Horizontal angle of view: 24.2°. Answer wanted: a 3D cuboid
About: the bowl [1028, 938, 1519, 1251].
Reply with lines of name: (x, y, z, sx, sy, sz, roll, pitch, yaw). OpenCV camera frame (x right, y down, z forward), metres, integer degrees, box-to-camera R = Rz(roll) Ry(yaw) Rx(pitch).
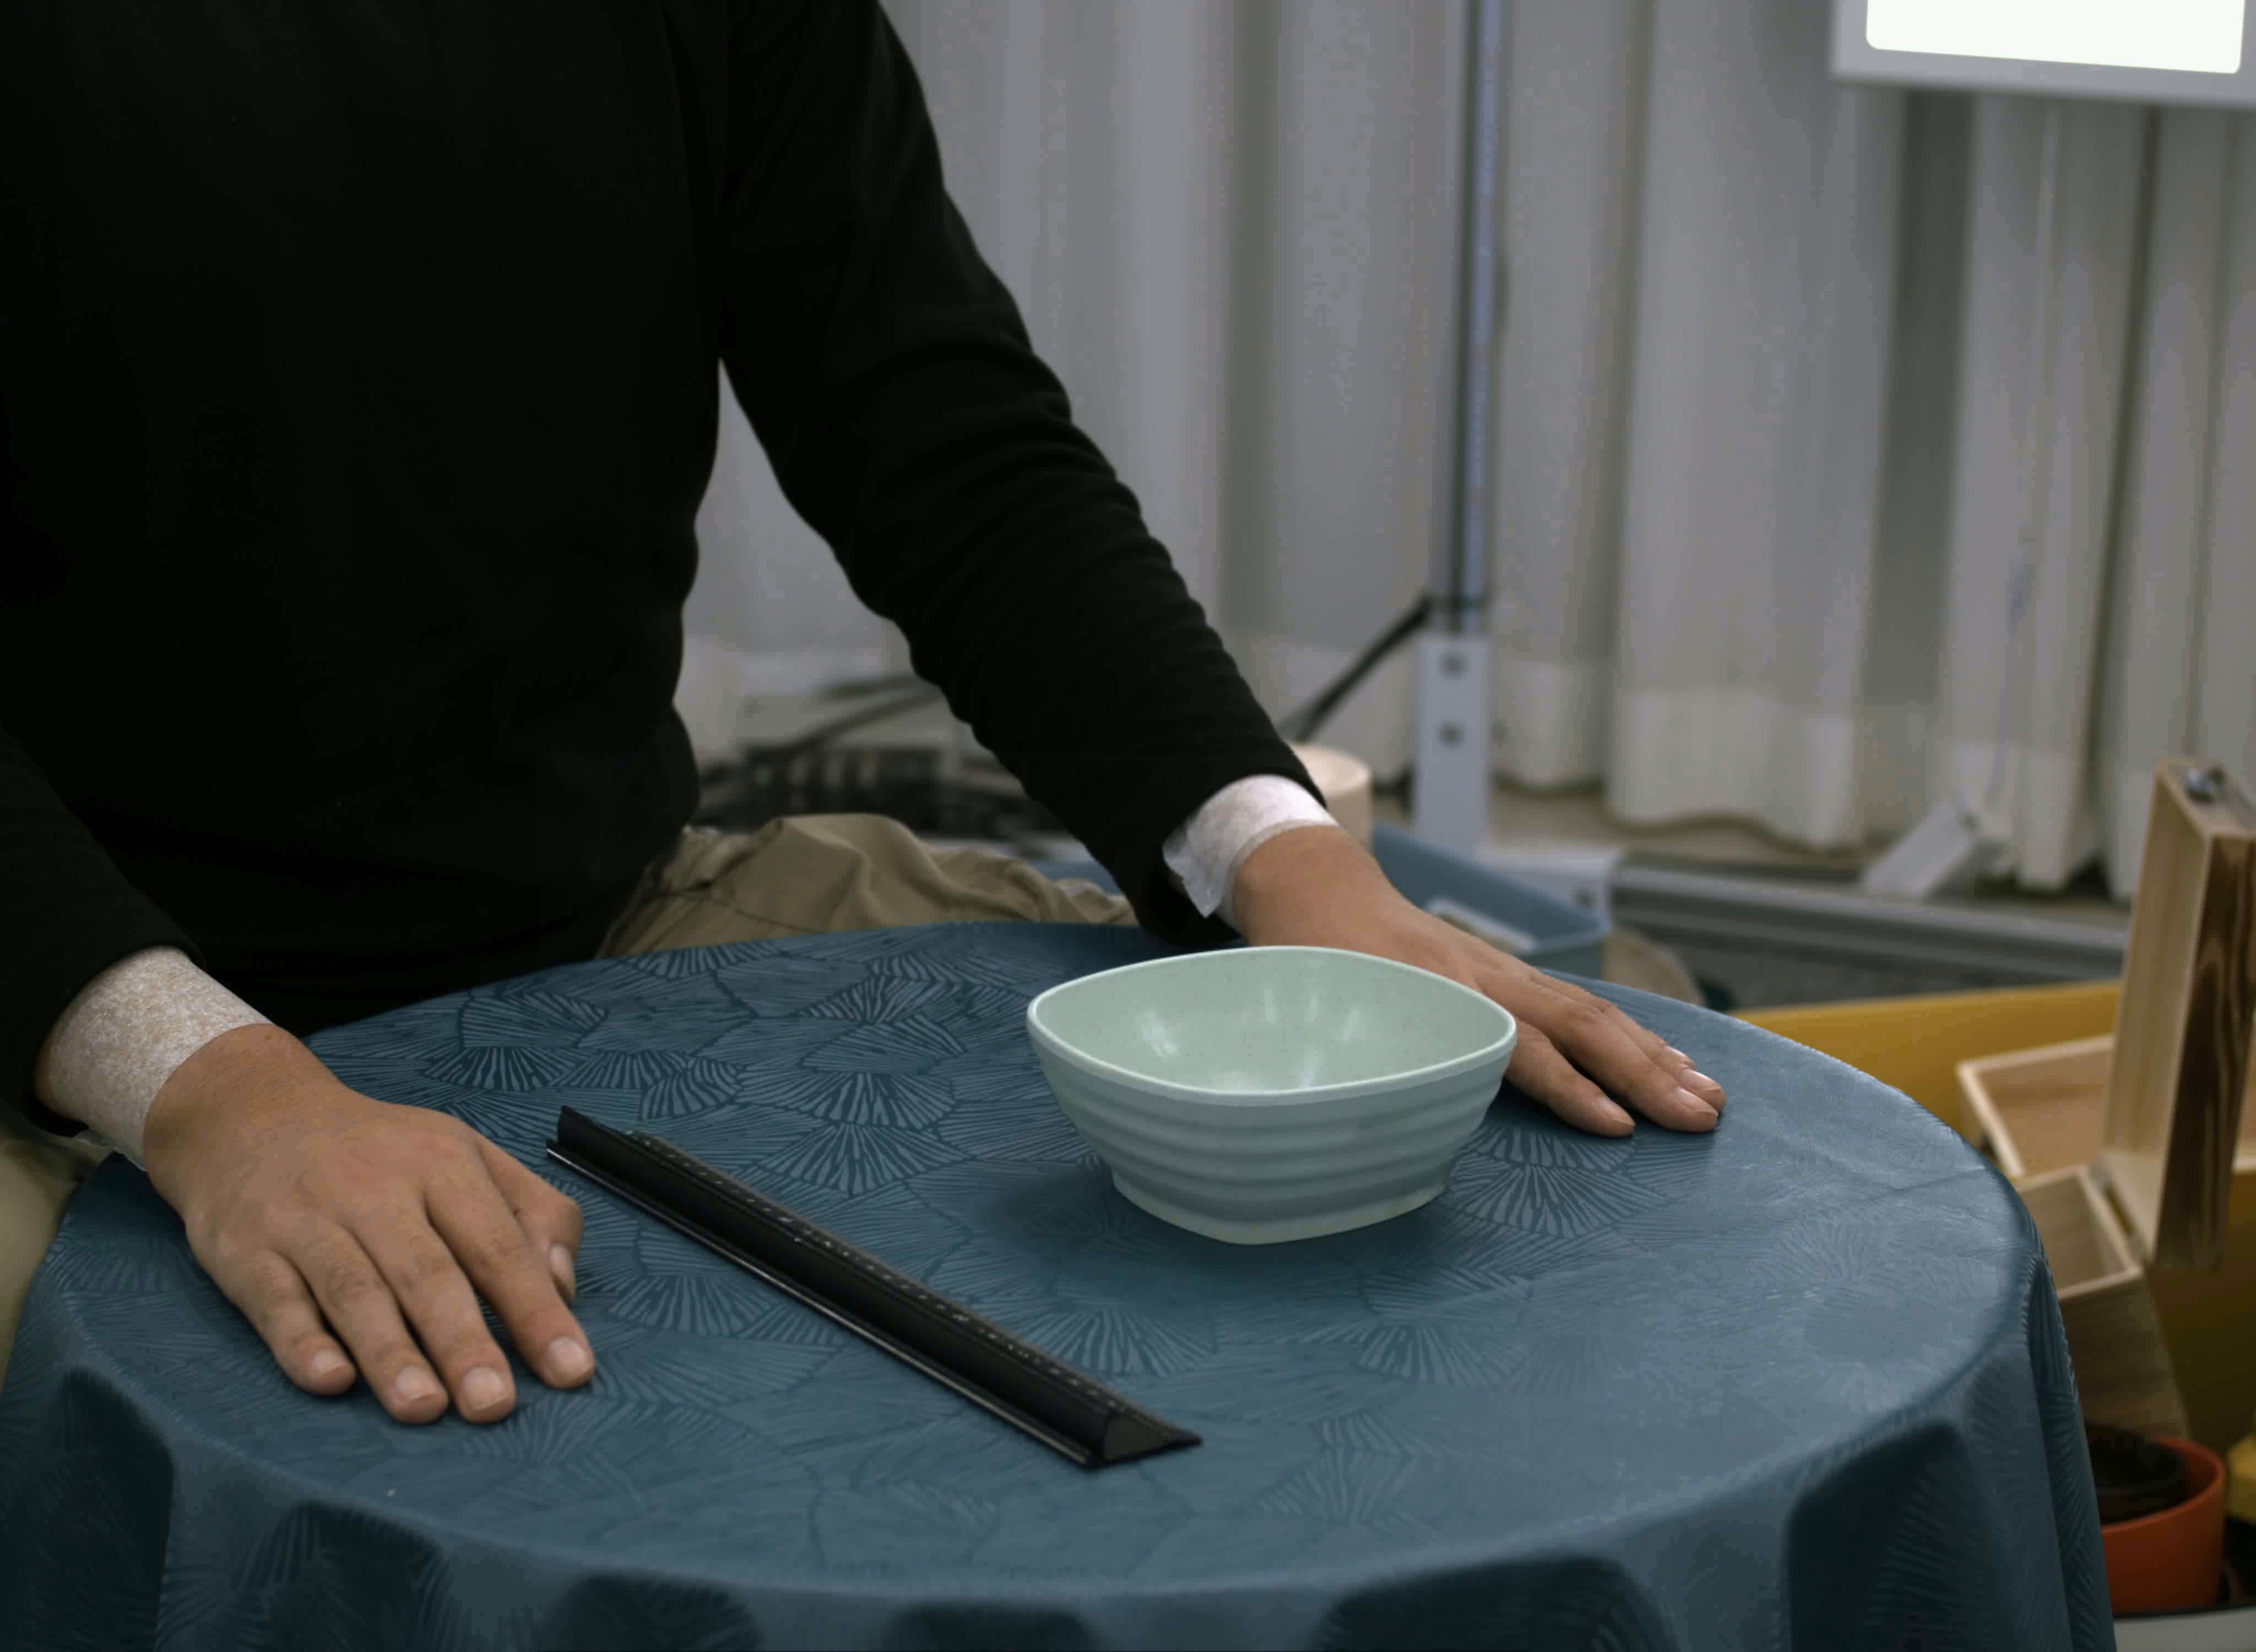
bowl: (0.044, 0.085, 1.614, 0.151, 0.059, 0.150, 1, 18, 0)

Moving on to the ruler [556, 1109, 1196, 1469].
ruler: (-0.079, 0.128, 1.533, 0.039, 0.017, 0.308, -6, 16, -33)
